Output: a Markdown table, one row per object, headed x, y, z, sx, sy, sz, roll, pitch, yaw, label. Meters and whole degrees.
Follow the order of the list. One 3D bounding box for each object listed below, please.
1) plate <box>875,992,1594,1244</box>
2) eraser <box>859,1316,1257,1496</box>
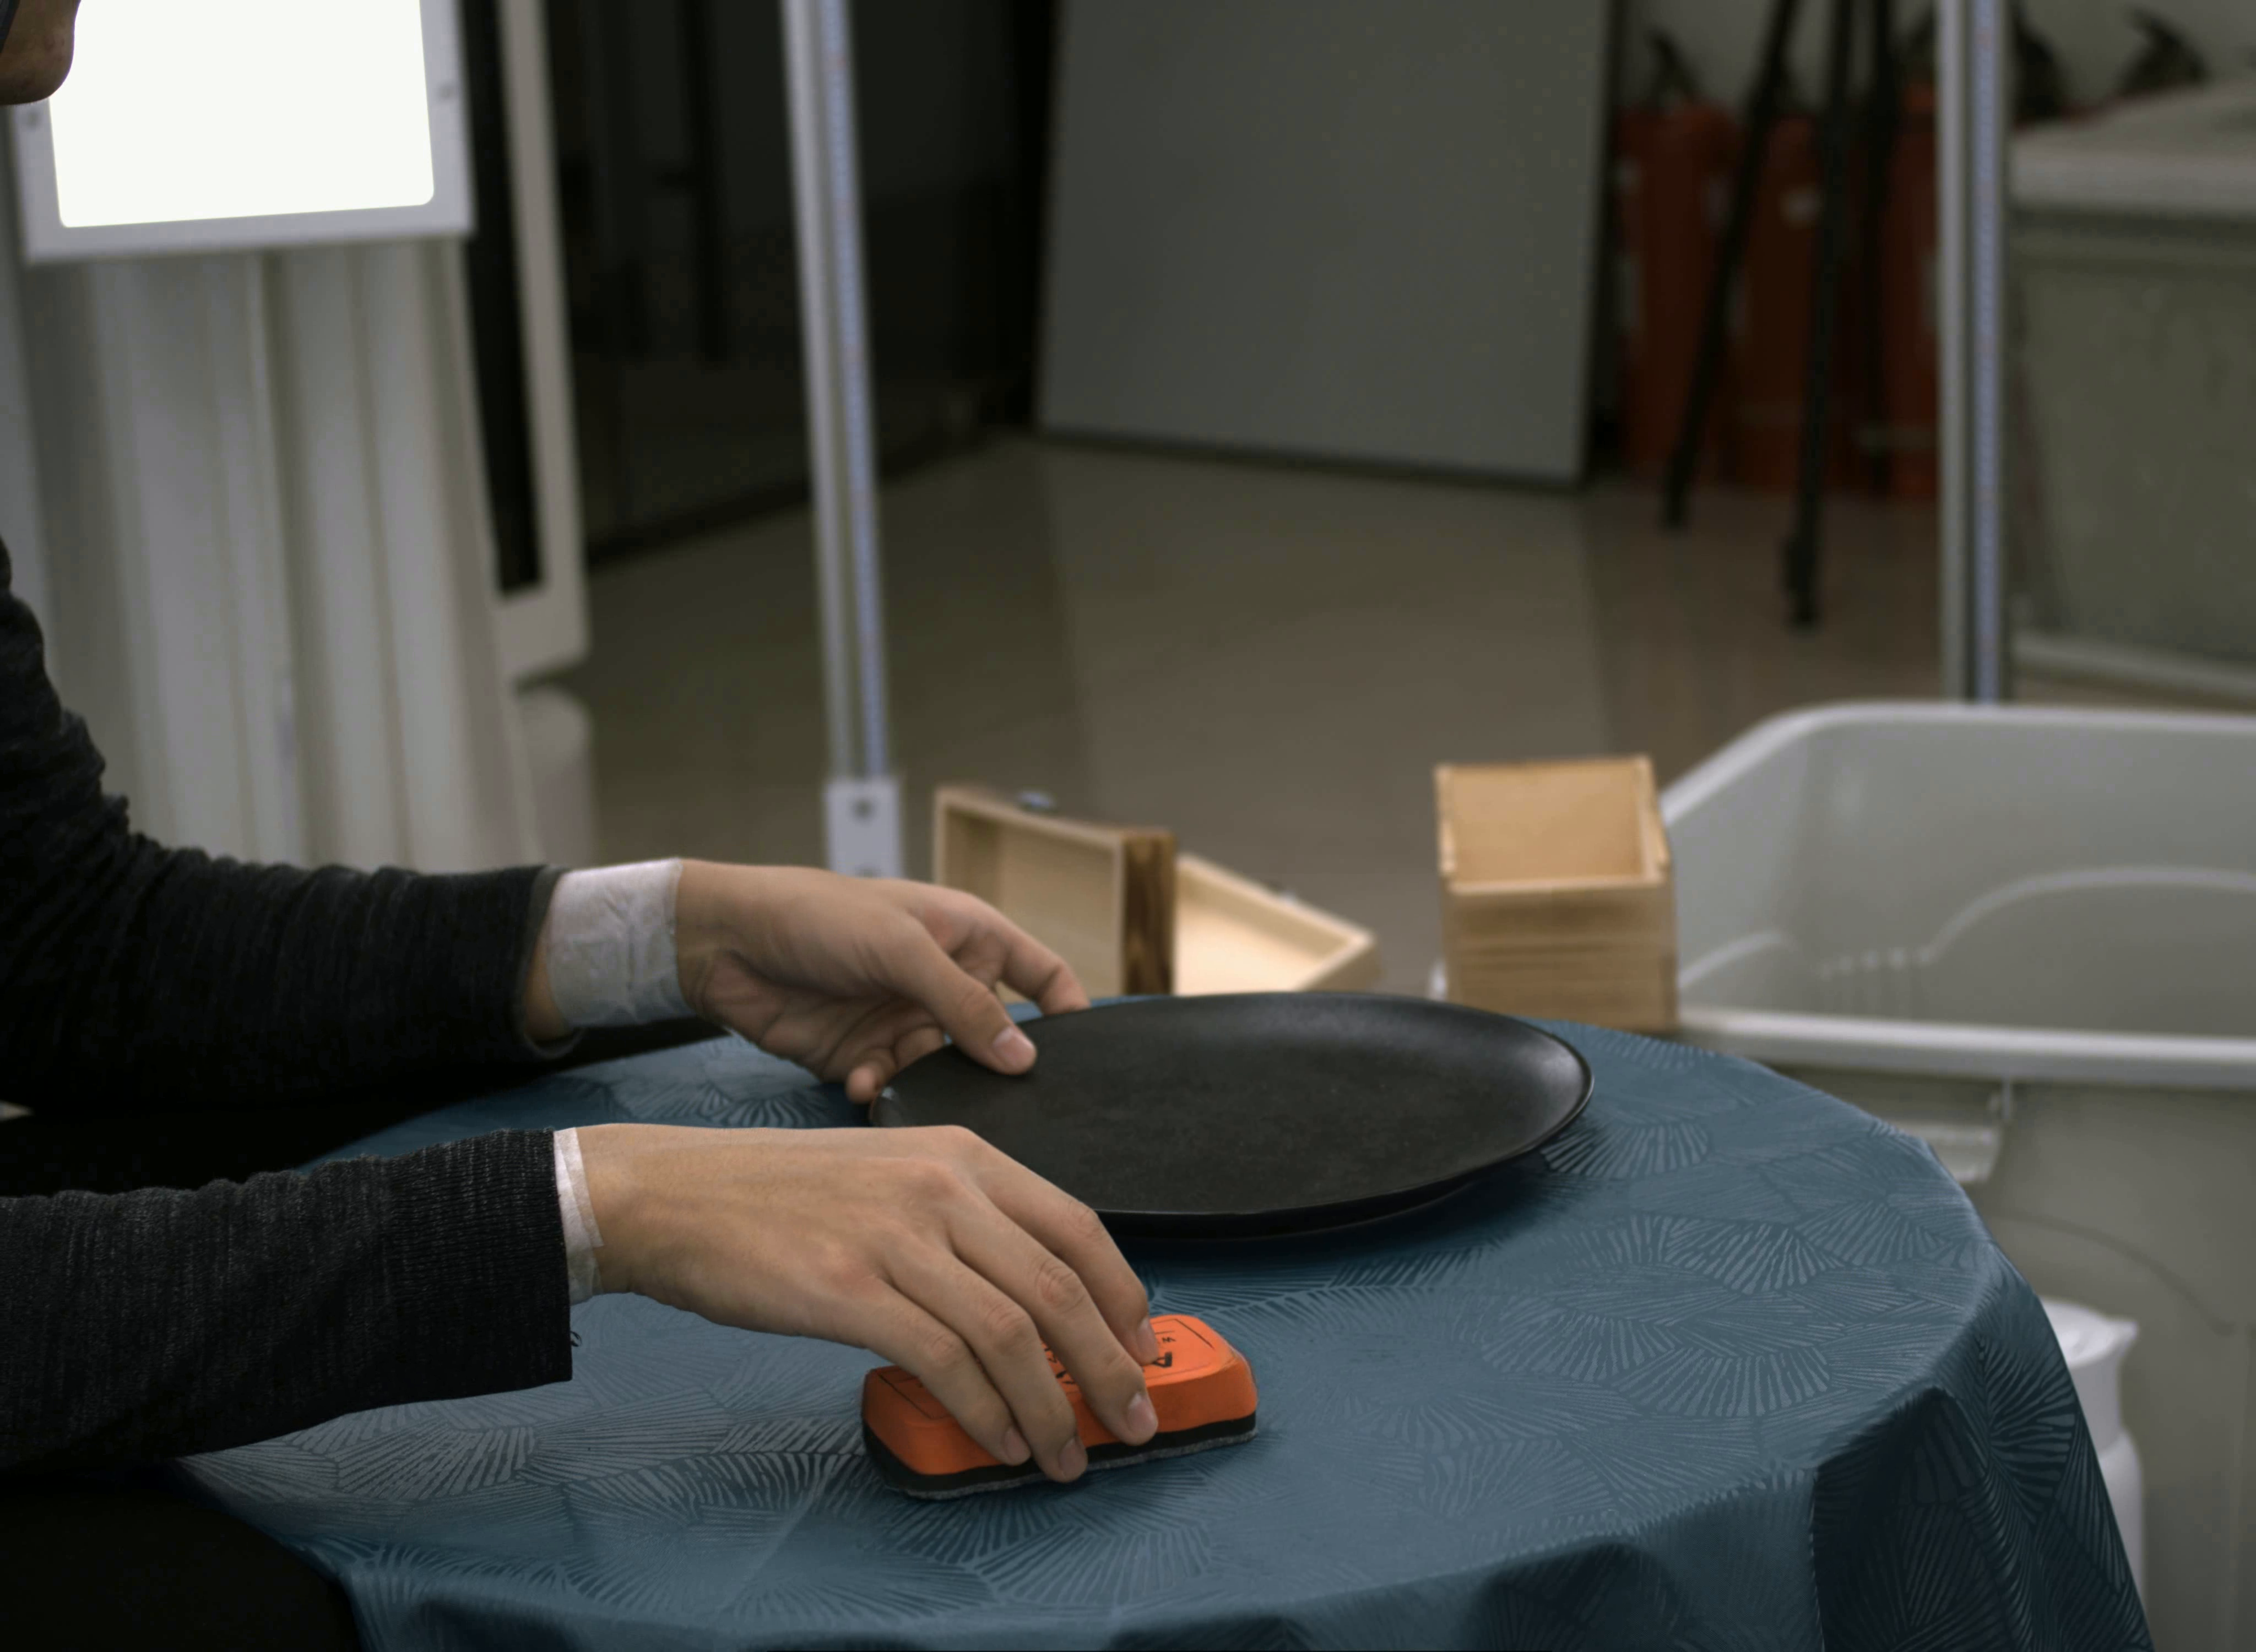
| x | y | z | sx | sy | sz | roll | pitch | yaw | label |
| --- | --- | --- | --- | --- | --- | --- | --- | --- | --- |
| 0.036 | 0.099 | 1.798 | 0.241 | 0.024 | 0.245 | -4 | 14 | 0 | plate |
| -0.020 | 0.165 | 1.543 | 0.106 | 0.023 | 0.059 | -8 | 12 | -18 | eraser |
